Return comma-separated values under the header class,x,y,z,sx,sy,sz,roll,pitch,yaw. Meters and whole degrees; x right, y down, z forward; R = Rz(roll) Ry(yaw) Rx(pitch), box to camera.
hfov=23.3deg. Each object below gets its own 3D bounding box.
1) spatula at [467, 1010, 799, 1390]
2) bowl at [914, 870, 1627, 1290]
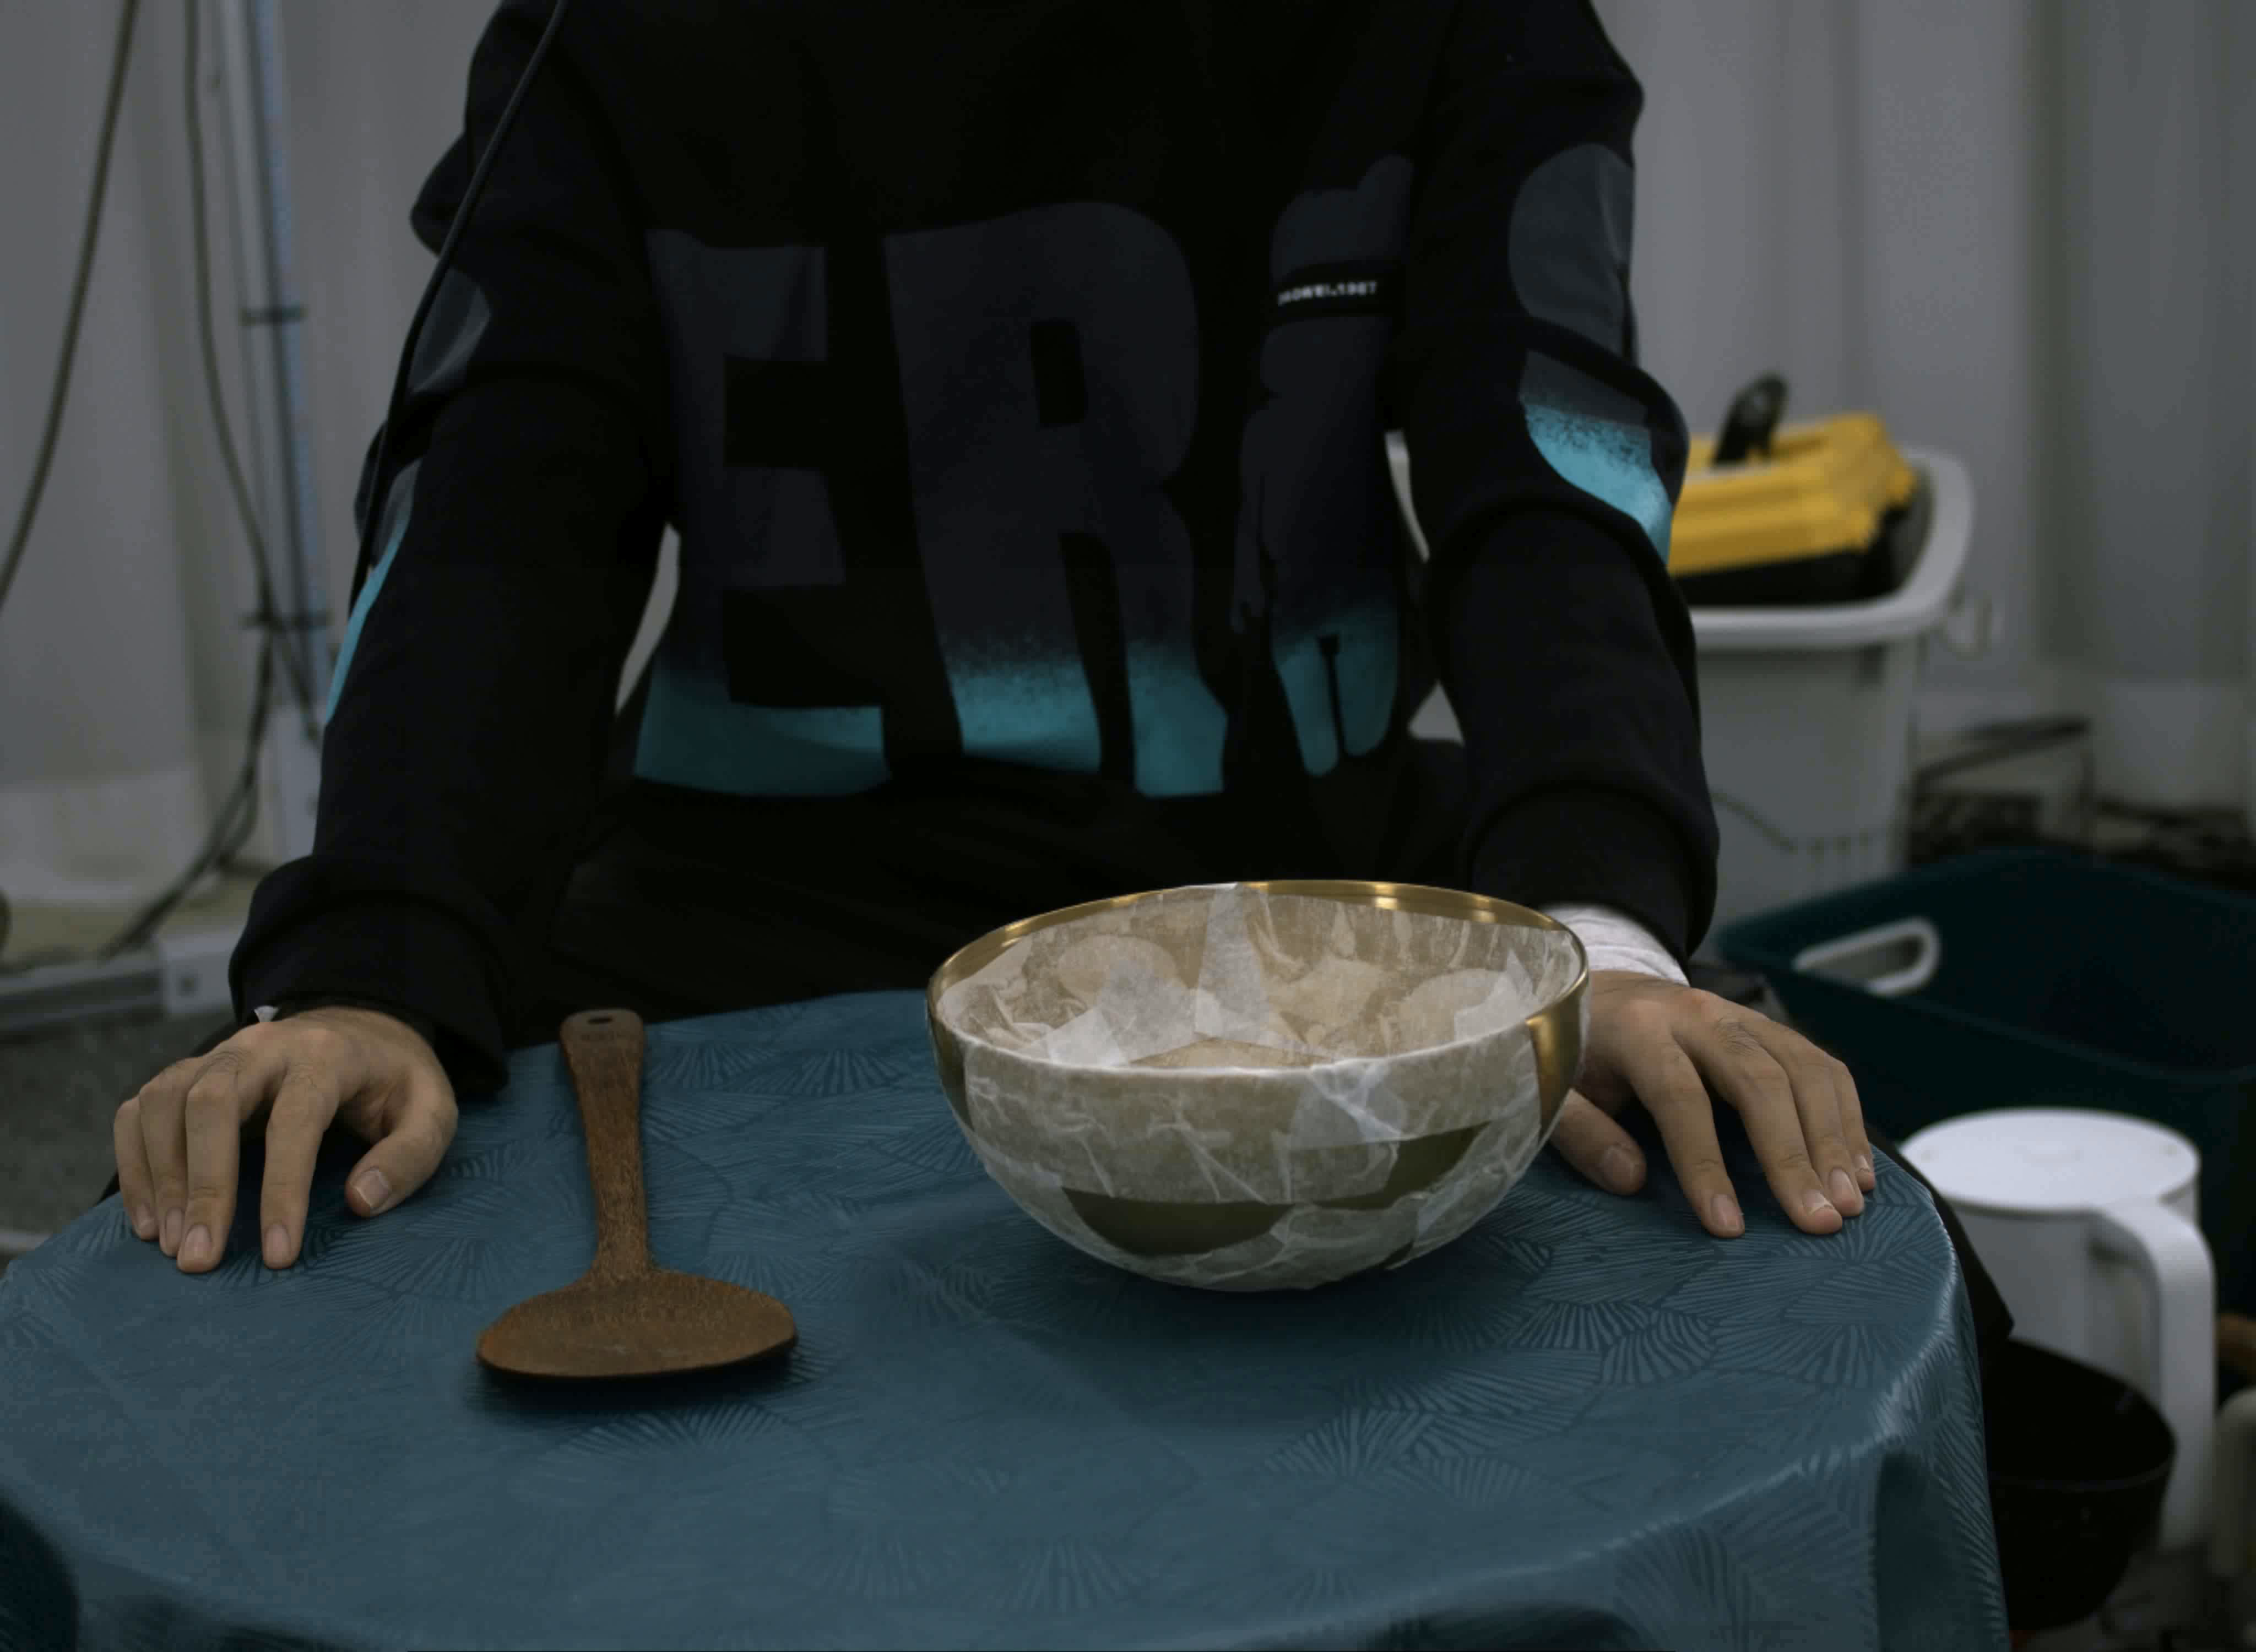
class,x,y,z,sx,sy,sz,roll,pitch,yaw
spatula,-0.162,0.112,1.729,0.096,0.016,0.389,-4,15,-6
bowl,0.044,0.084,1.640,0.214,0.094,0.216,-4,14,1
